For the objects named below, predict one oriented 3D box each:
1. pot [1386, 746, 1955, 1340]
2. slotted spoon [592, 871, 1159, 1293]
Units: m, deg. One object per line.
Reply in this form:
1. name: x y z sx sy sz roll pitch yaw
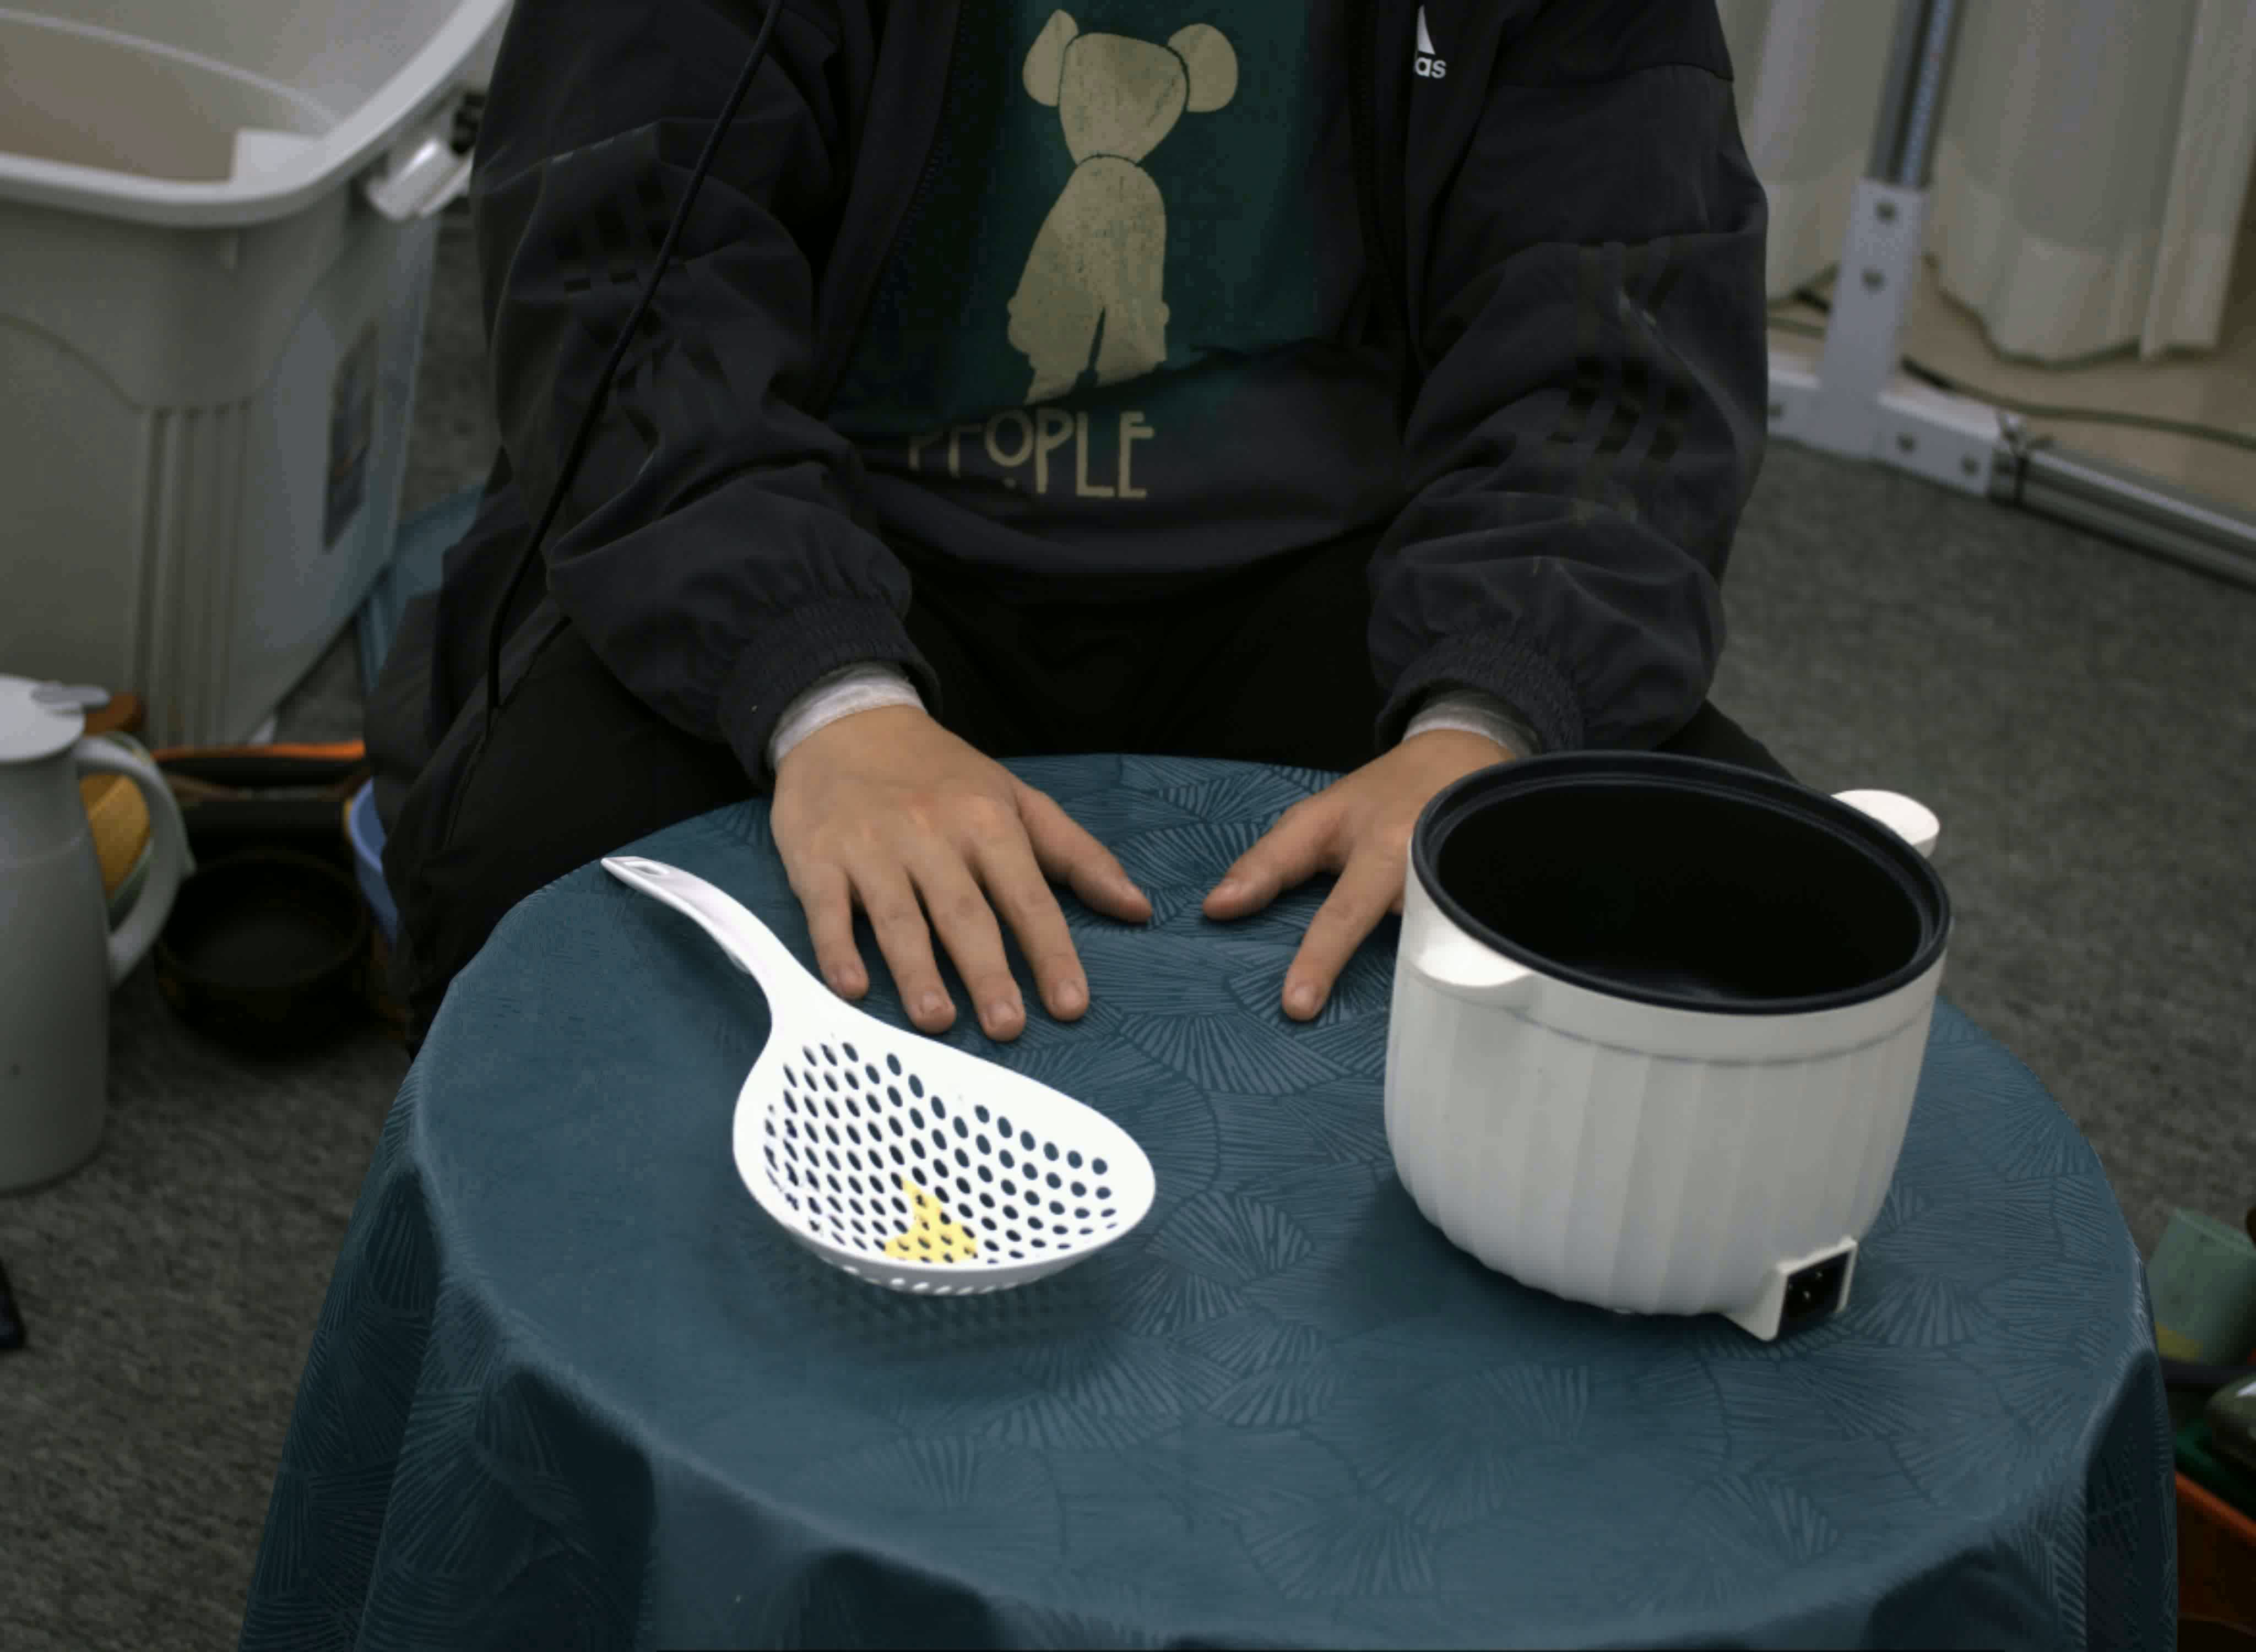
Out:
1. pot: 0.172 0.072 1.793 0.239 0.142 0.192 -15 37 -39
2. slotted spoon: -0.109 0.075 1.830 0.136 0.050 0.351 -9 31 -24
